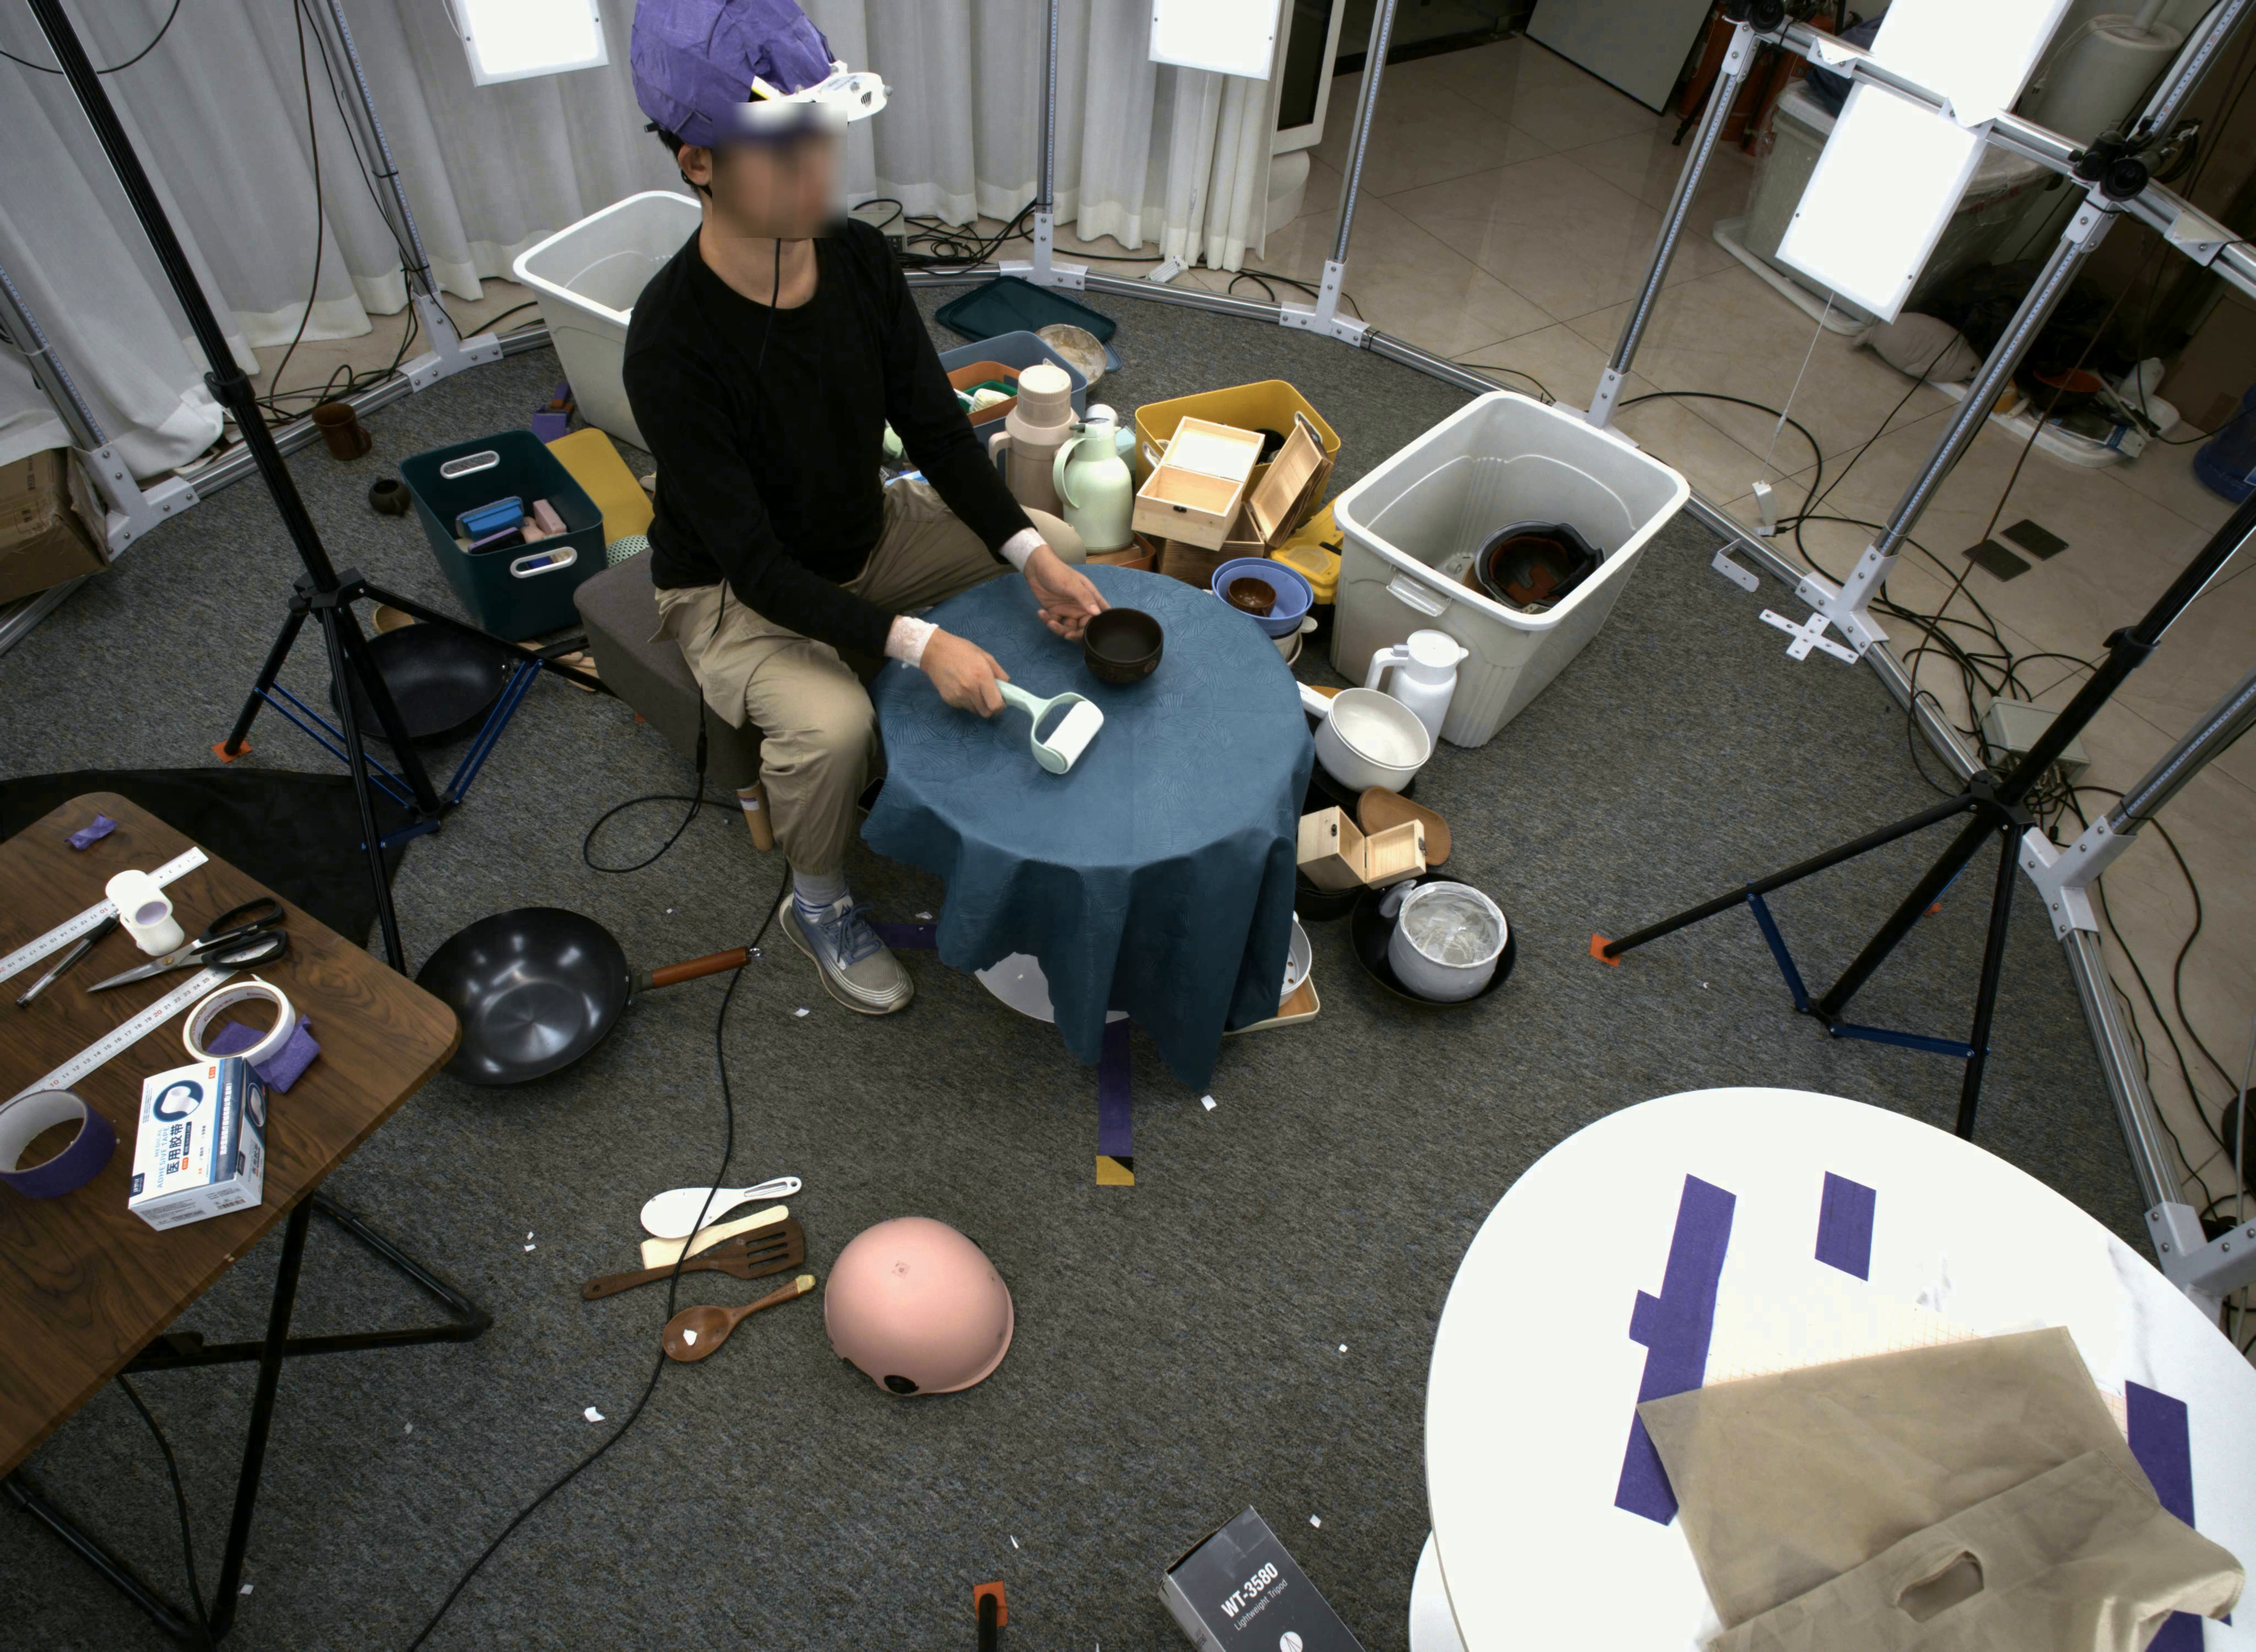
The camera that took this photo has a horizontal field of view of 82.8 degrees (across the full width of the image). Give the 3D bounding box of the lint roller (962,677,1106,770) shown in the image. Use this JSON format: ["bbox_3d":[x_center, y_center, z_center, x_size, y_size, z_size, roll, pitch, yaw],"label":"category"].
[{"bbox_3d":[-0.135,-0.162,1.751,0.198,0.047,0.118,29,53,7],"label":"lint roller"}]

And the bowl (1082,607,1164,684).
[{"bbox_3d":[-0.008,-0.250,1.840,0.118,0.068,0.121,1,49,-2],"label":"bowl"}]
